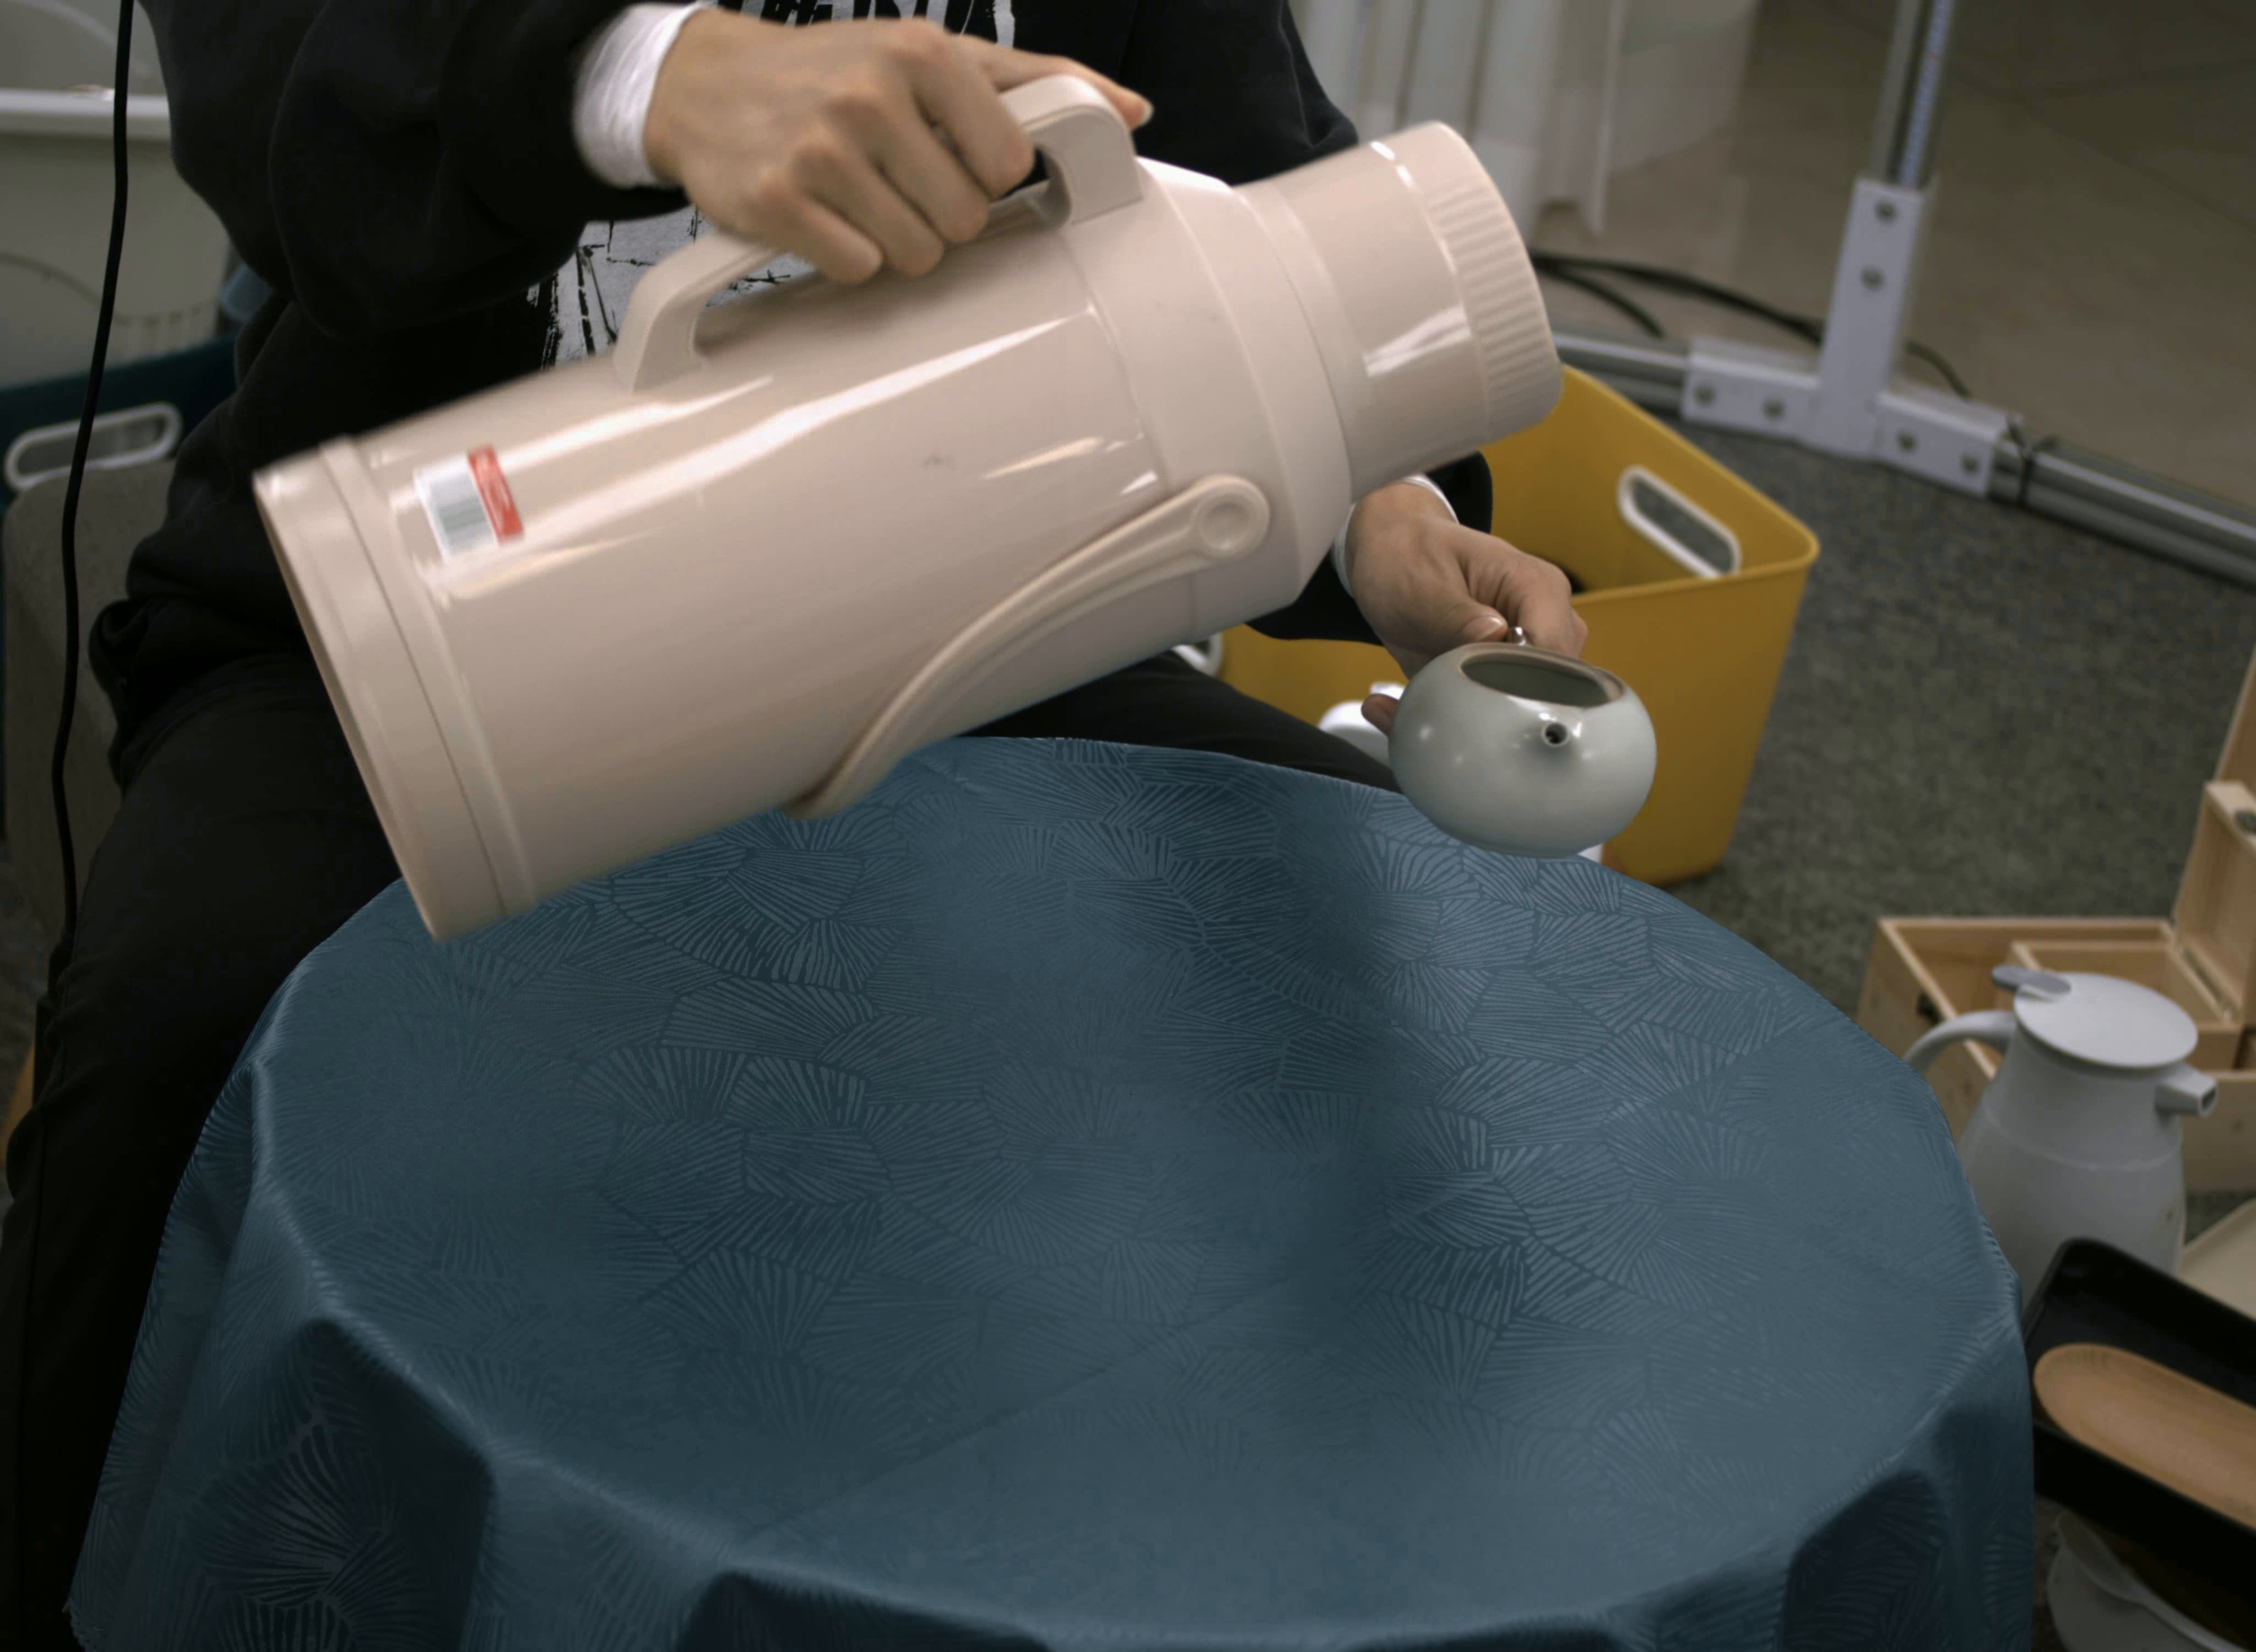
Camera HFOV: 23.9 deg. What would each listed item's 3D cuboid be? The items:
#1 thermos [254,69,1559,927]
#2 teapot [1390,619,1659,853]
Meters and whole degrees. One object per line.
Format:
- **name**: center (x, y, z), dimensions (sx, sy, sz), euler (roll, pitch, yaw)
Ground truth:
- **thermos**: center (-0.070, -0.122, 1.702), dimensions (0.405, 0.206, 0.177), euler (-20, 34, -7)
- **teapot**: center (0.134, -0.031, 1.819), dimensions (0.091, 0.059, 0.129), euler (4, 20, -6)
